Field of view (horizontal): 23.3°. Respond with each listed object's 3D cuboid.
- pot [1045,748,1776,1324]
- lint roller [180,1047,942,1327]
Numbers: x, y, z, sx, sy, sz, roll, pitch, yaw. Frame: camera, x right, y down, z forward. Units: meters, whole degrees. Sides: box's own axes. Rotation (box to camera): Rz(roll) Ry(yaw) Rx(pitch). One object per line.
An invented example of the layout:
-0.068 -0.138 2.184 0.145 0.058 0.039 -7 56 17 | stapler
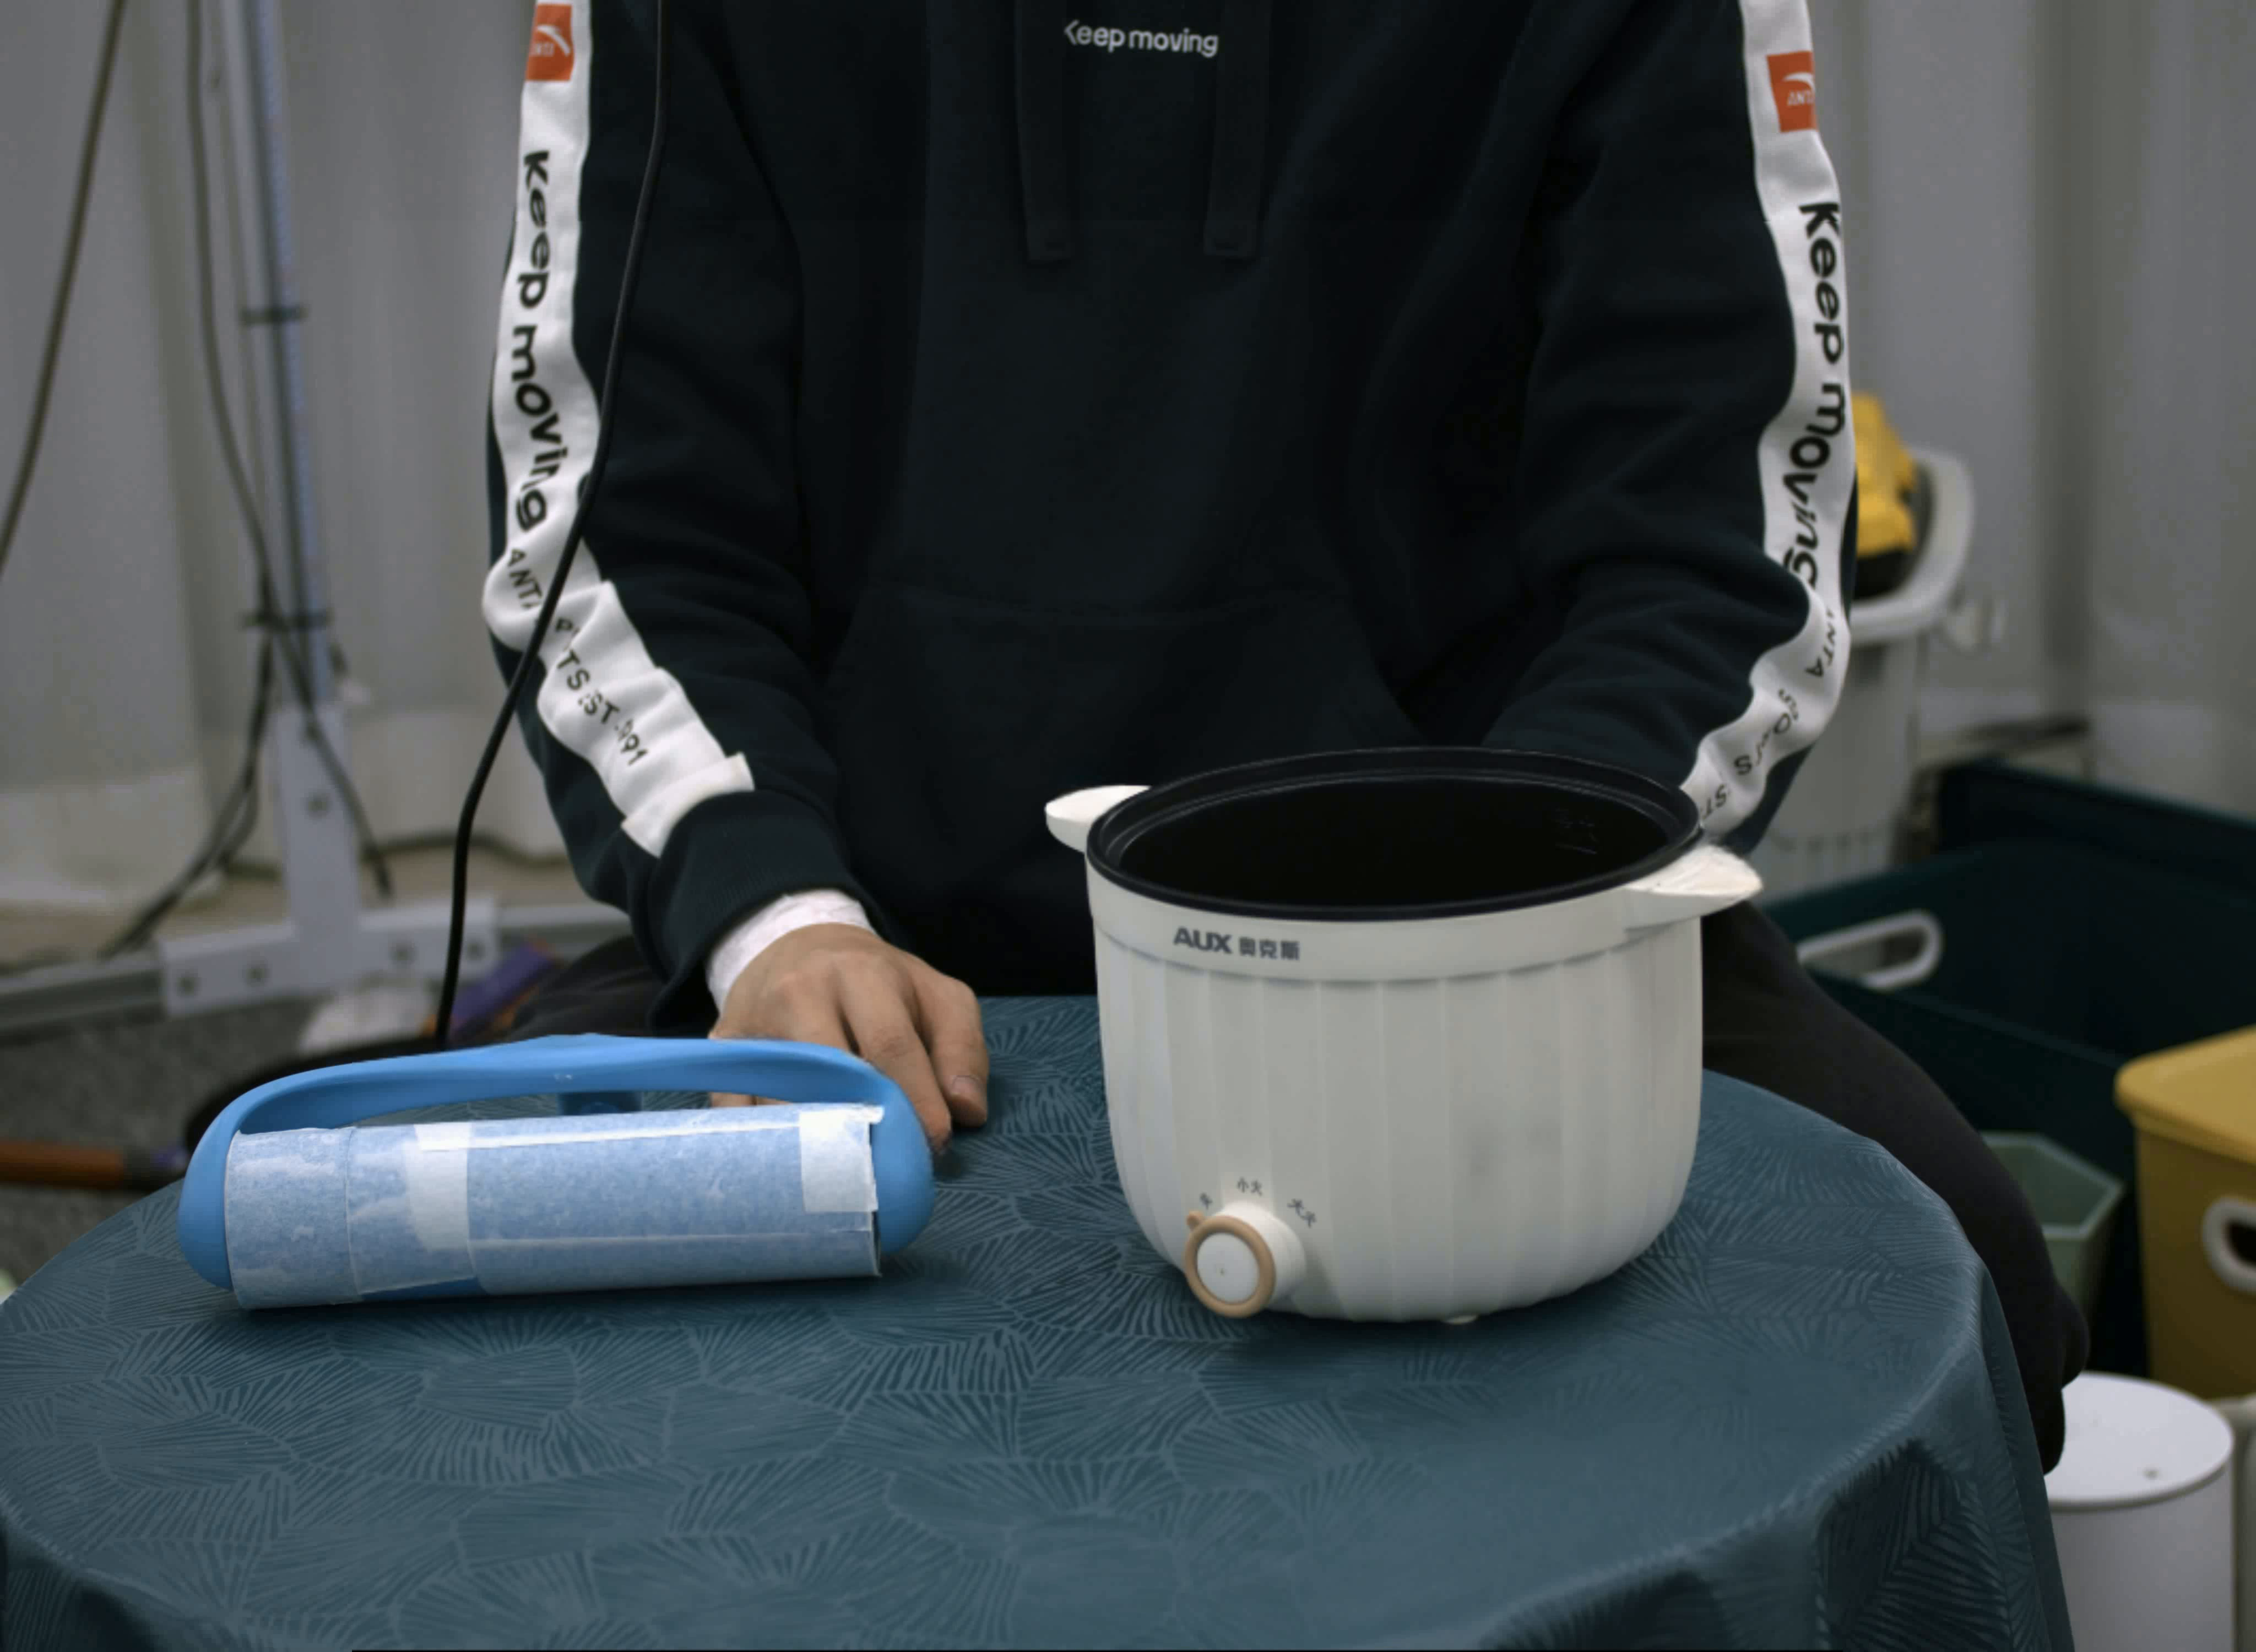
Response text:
0.080 0.065 1.617 0.241 0.142 0.190 5 13 33 | pot
-0.175 0.100 1.700 0.228 0.067 0.181 -6 15 -3 | lint roller
